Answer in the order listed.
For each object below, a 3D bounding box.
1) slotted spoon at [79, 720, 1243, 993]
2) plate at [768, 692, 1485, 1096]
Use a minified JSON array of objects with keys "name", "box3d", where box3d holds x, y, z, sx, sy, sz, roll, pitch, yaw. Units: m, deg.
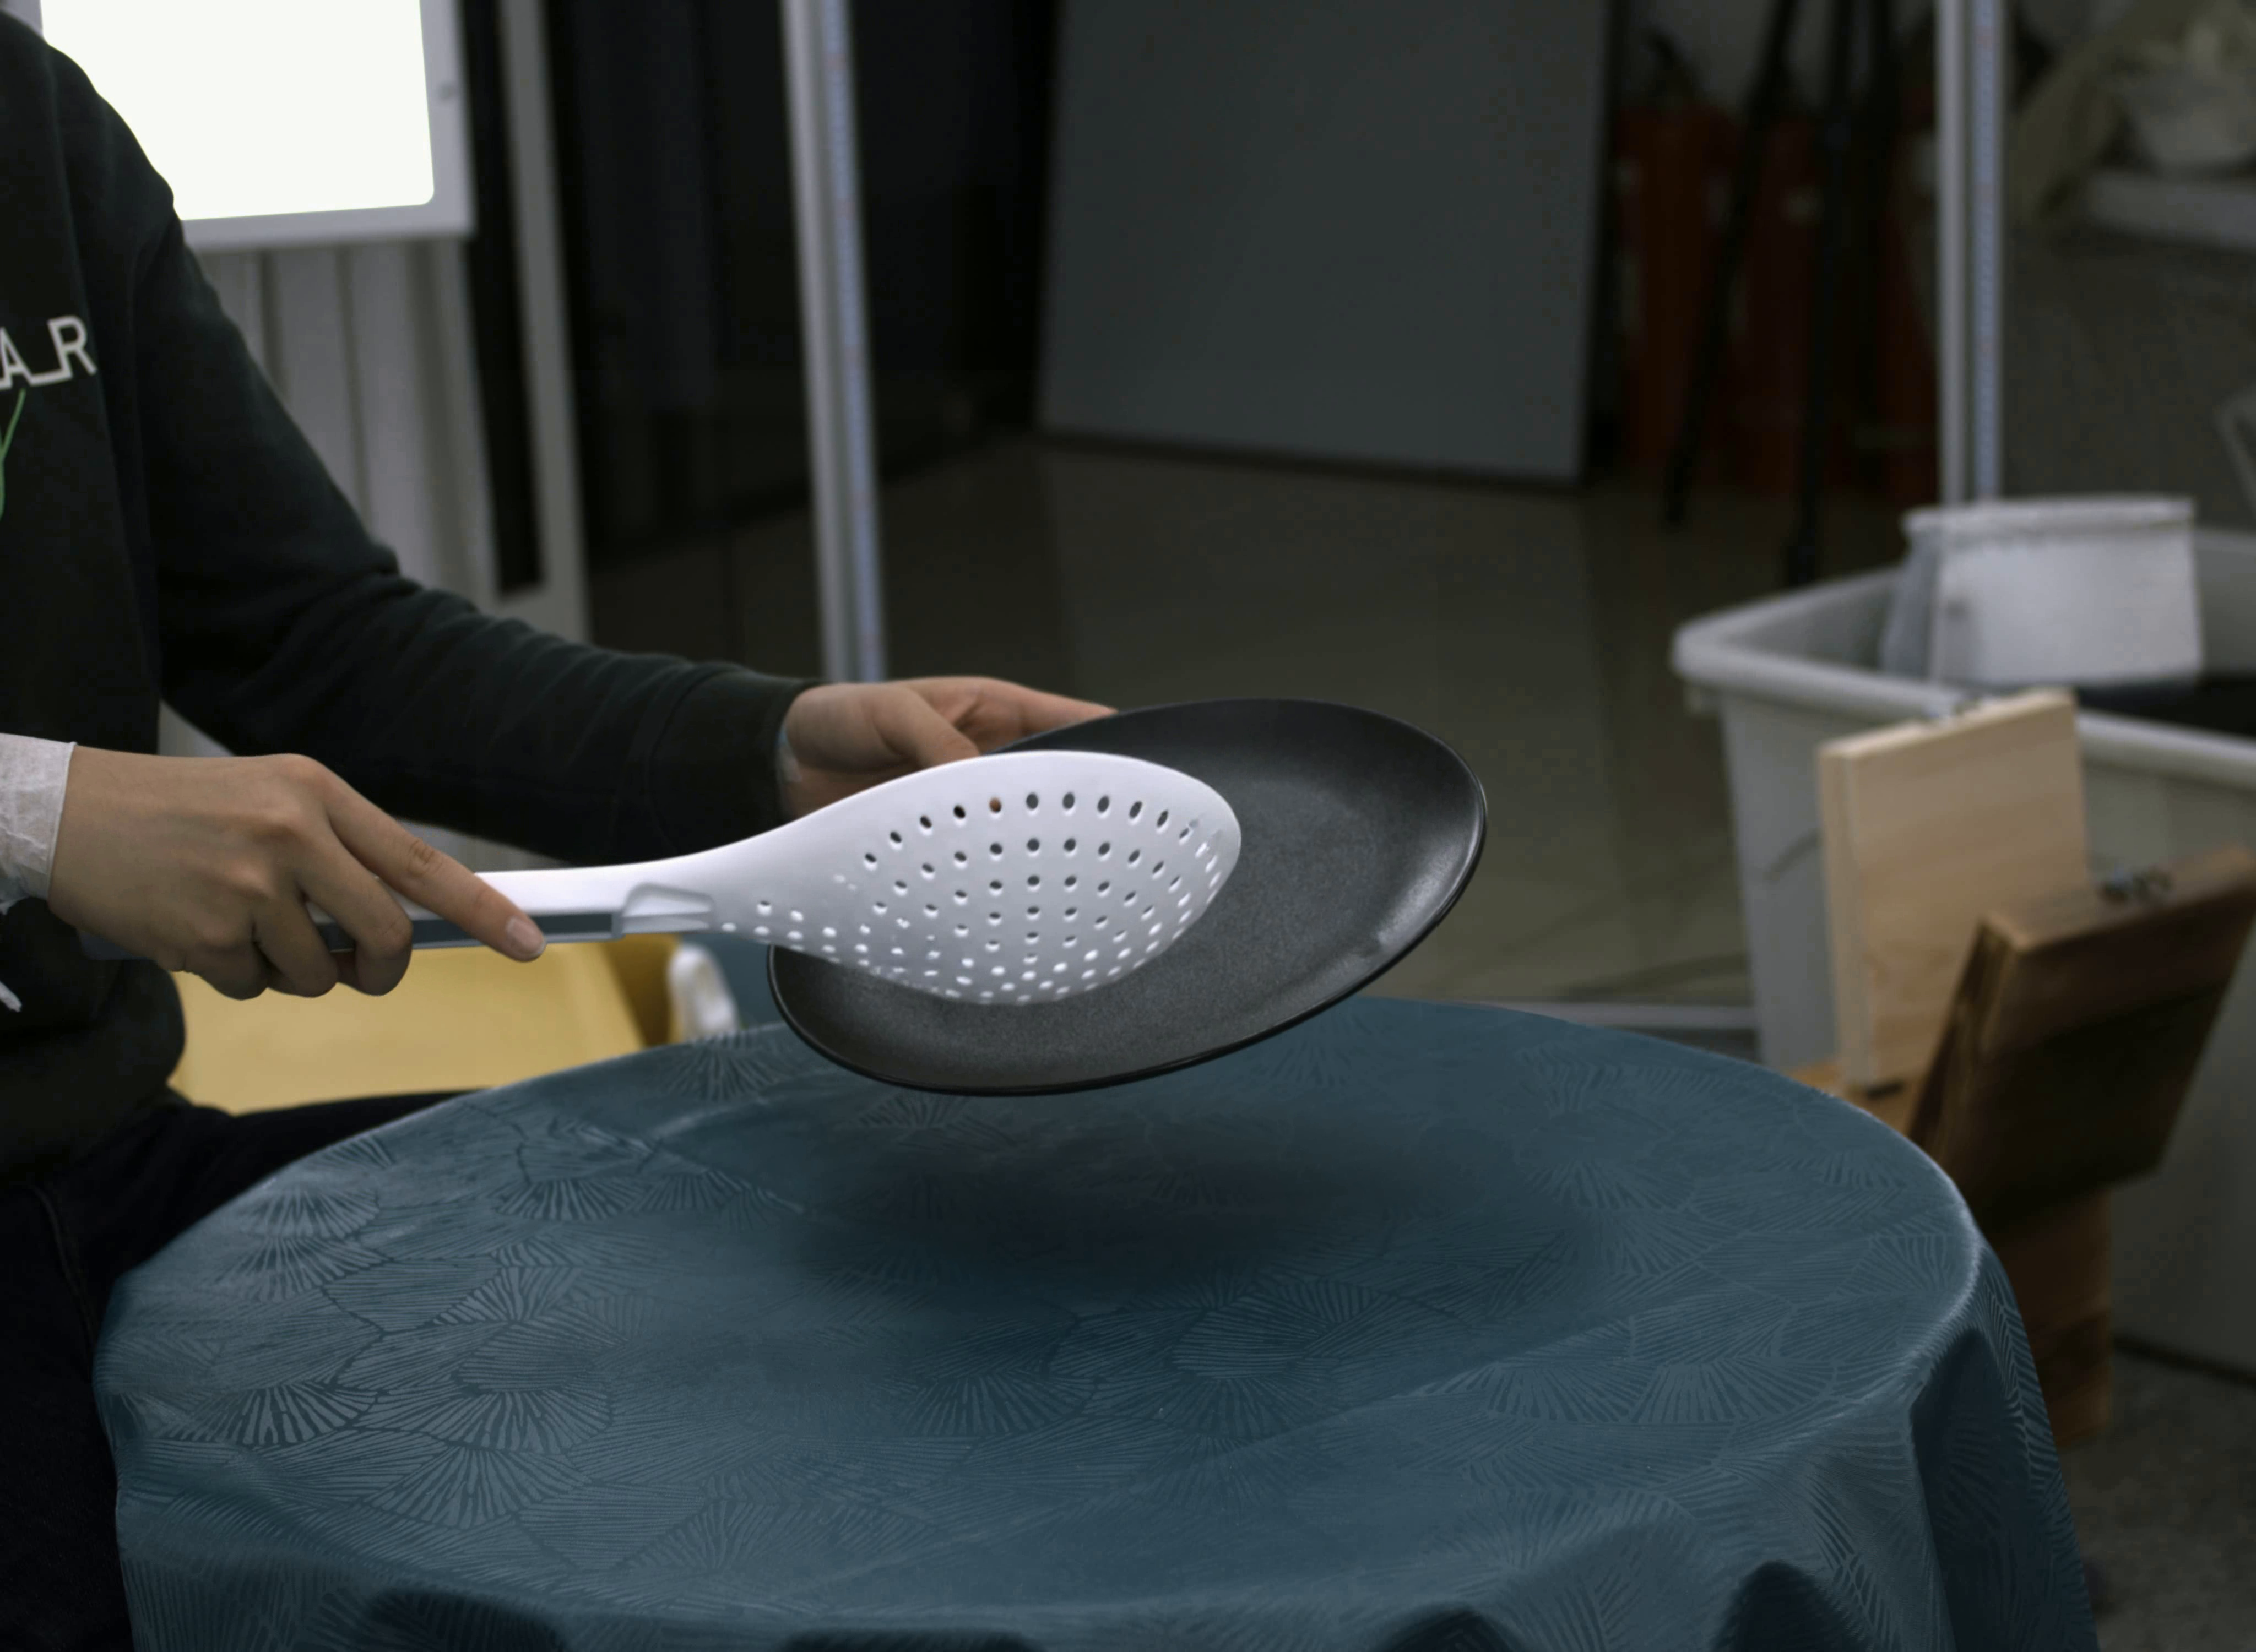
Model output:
[{"name":"slotted spoon","box3d":[-0.137,0.018,1.618,0.345,0.046,0.136,0,-31,-2]},{"name":"plate","box3d":[0.001,0.026,1.762,0.242,0.023,0.245,-13,28,6]}]
